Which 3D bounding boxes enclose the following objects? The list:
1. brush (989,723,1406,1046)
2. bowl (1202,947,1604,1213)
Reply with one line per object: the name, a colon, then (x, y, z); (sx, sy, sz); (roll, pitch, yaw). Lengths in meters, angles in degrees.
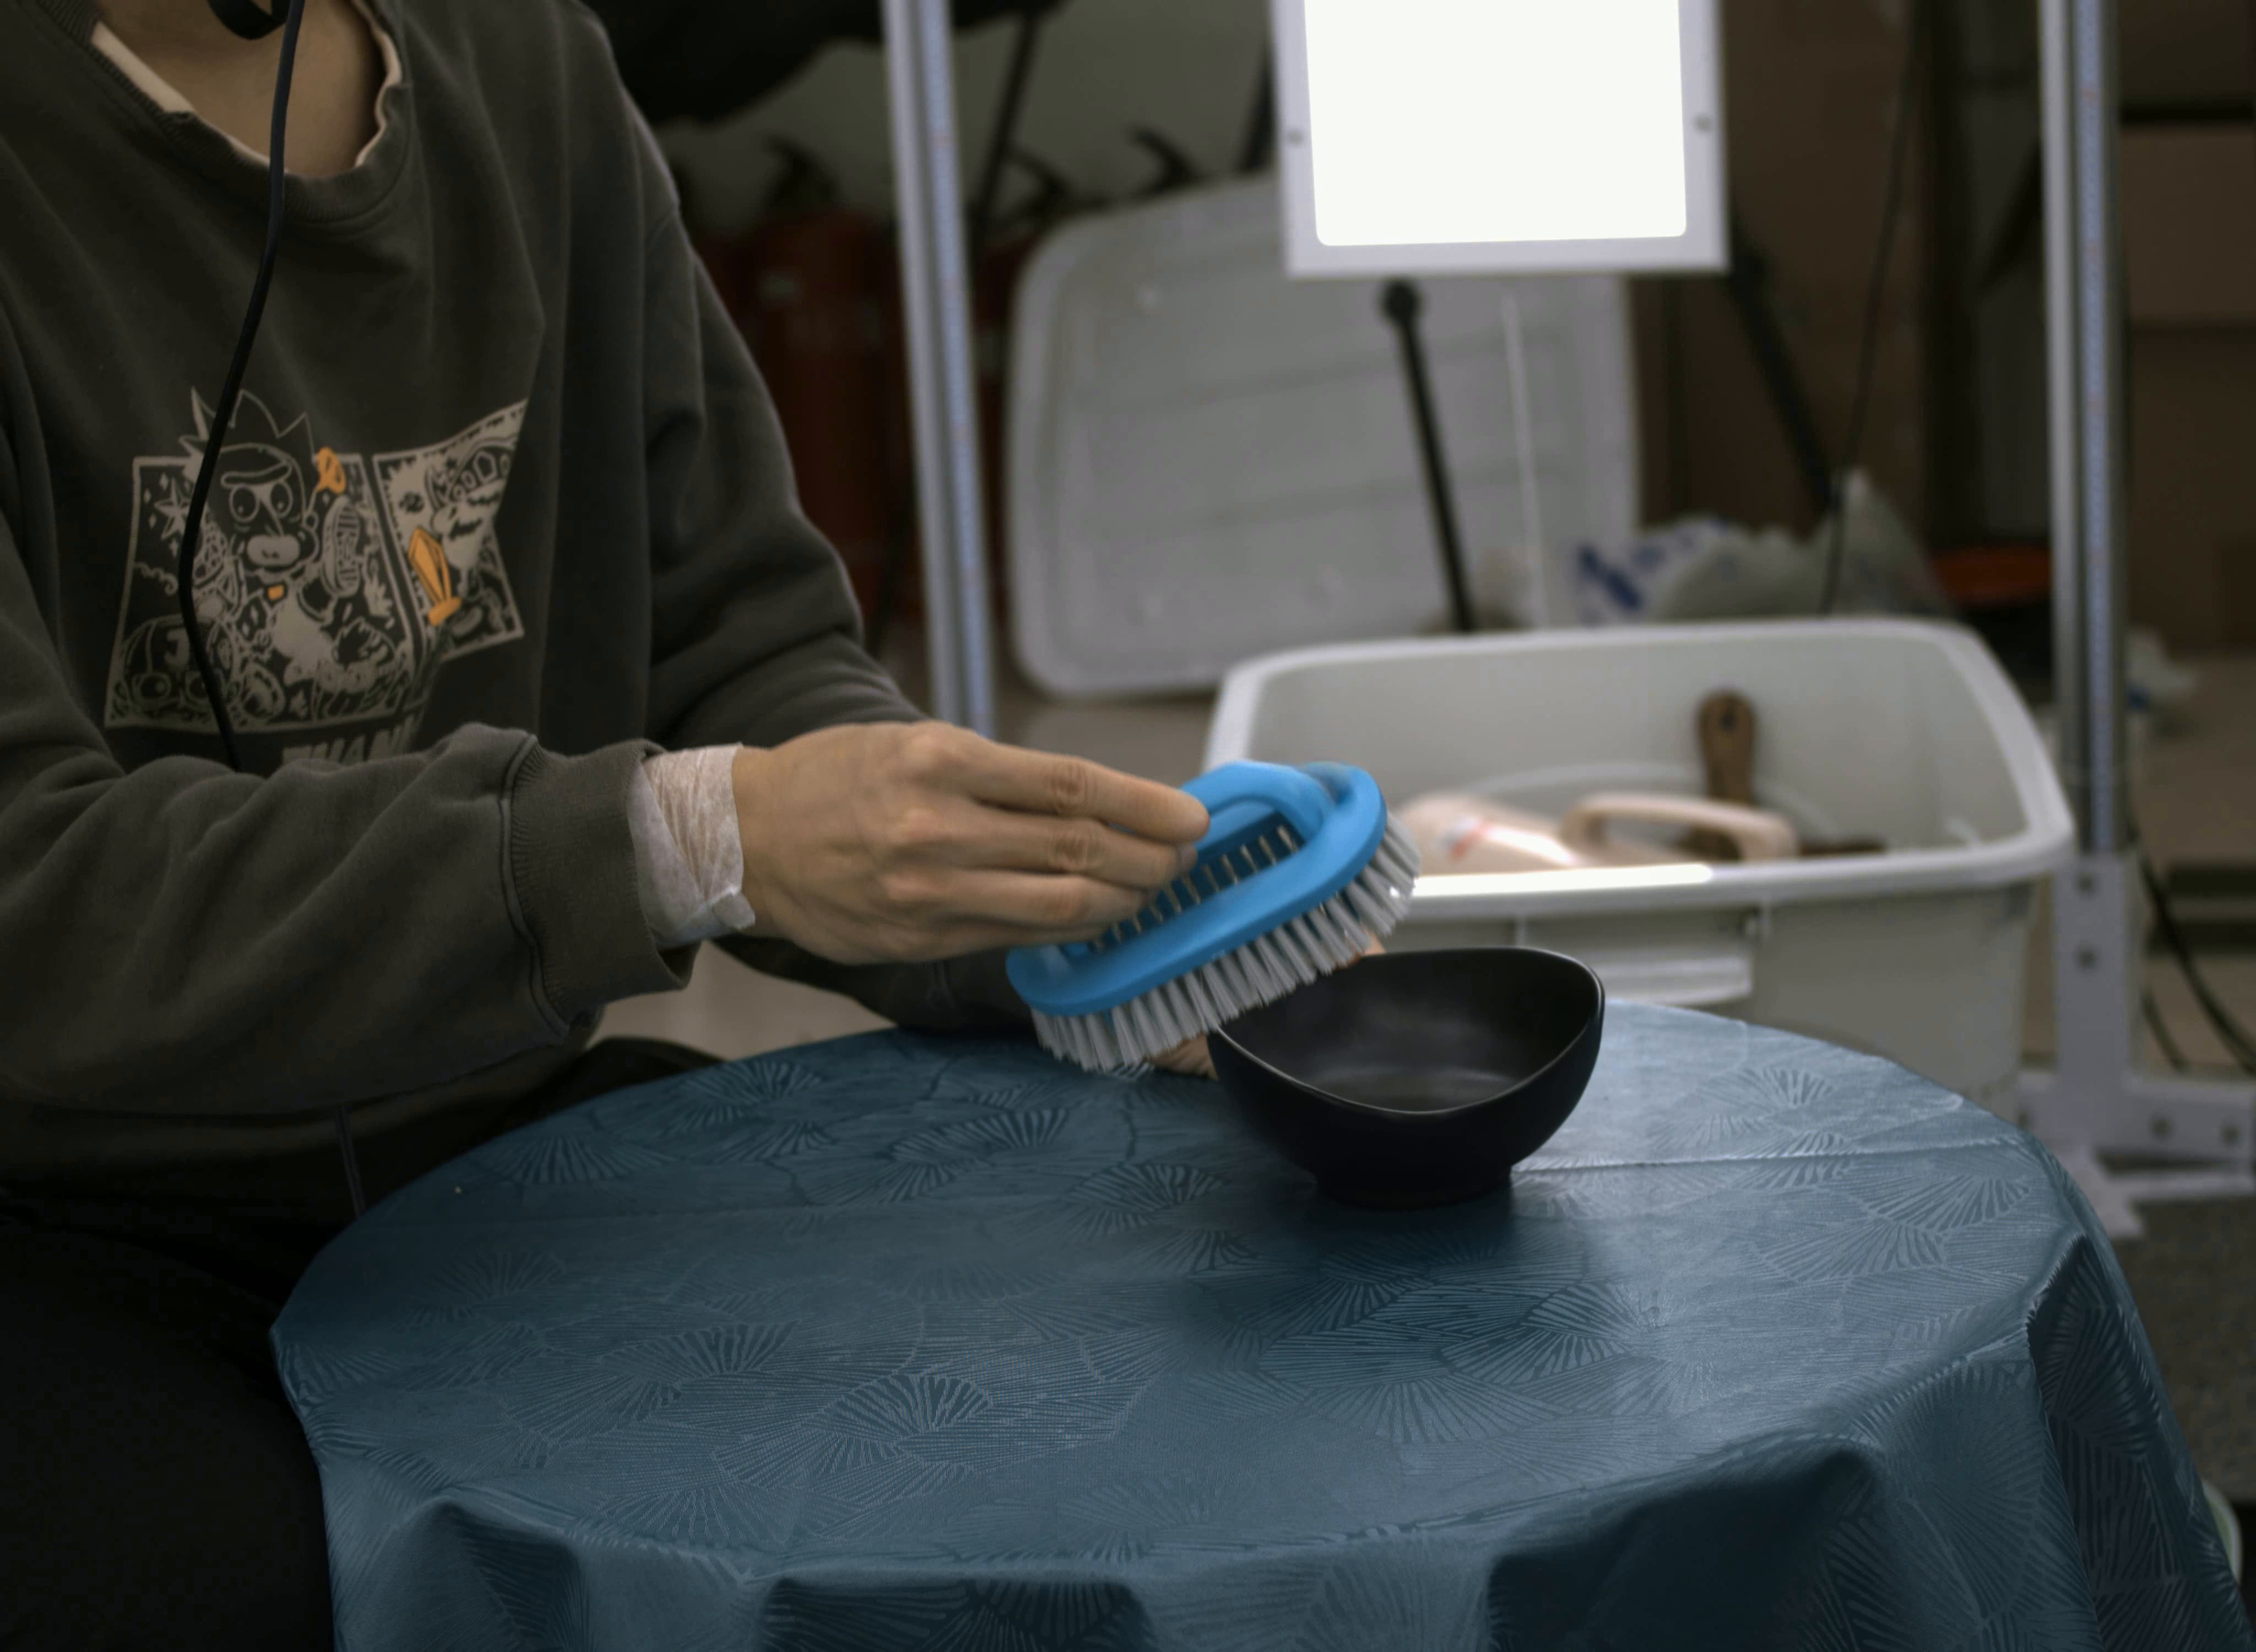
brush: (0.018, 0.011, 1.787); (0.143, 0.063, 0.084); (-26, 37, 12)
bowl: (0.097, 0.090, 1.878); (0.136, 0.067, 0.170); (-7, 15, -3)
